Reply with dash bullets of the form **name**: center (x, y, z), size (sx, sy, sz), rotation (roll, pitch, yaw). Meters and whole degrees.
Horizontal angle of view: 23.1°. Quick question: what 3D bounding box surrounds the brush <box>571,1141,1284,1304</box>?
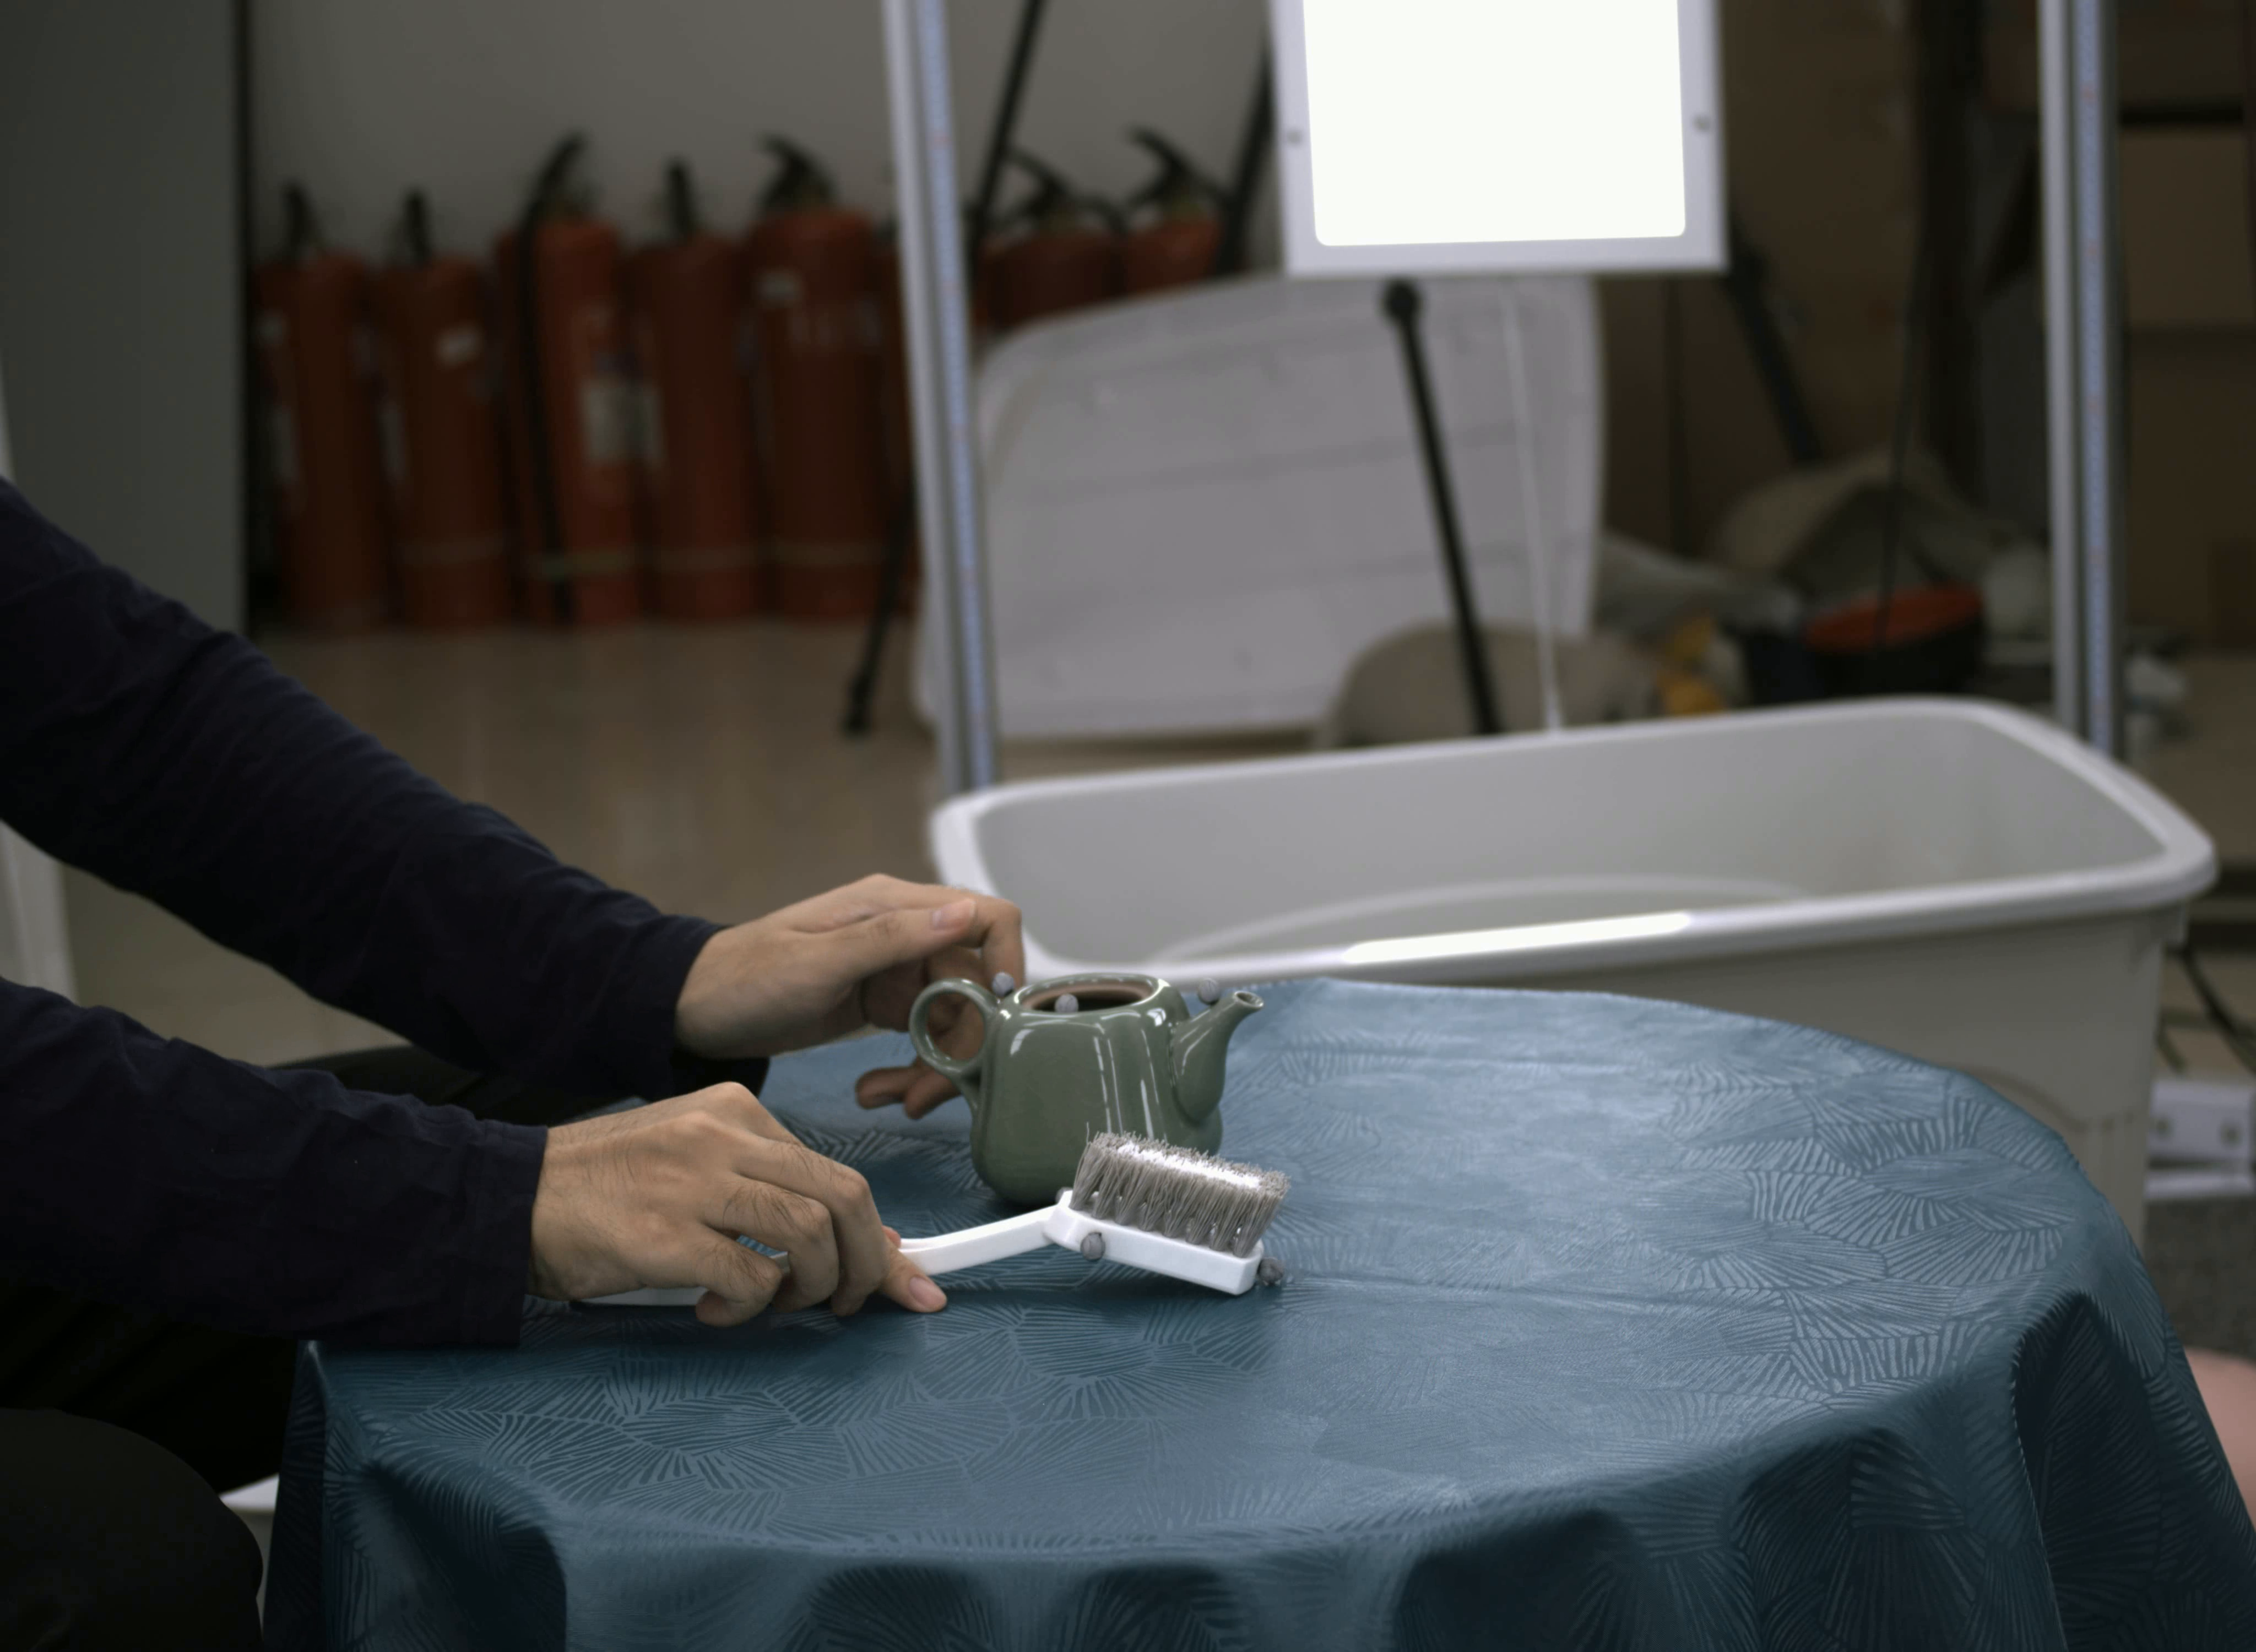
- **brush**: center (-0.068, 0.130, 1.811), size (0.246, 0.050, 0.034), rotation (-2, 18, 15)

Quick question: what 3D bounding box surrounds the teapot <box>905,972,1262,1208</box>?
- **teapot**: center (-0.013, 0.090, 1.901), size (0.134, 0.075, 0.078), rotation (0, 14, 23)
